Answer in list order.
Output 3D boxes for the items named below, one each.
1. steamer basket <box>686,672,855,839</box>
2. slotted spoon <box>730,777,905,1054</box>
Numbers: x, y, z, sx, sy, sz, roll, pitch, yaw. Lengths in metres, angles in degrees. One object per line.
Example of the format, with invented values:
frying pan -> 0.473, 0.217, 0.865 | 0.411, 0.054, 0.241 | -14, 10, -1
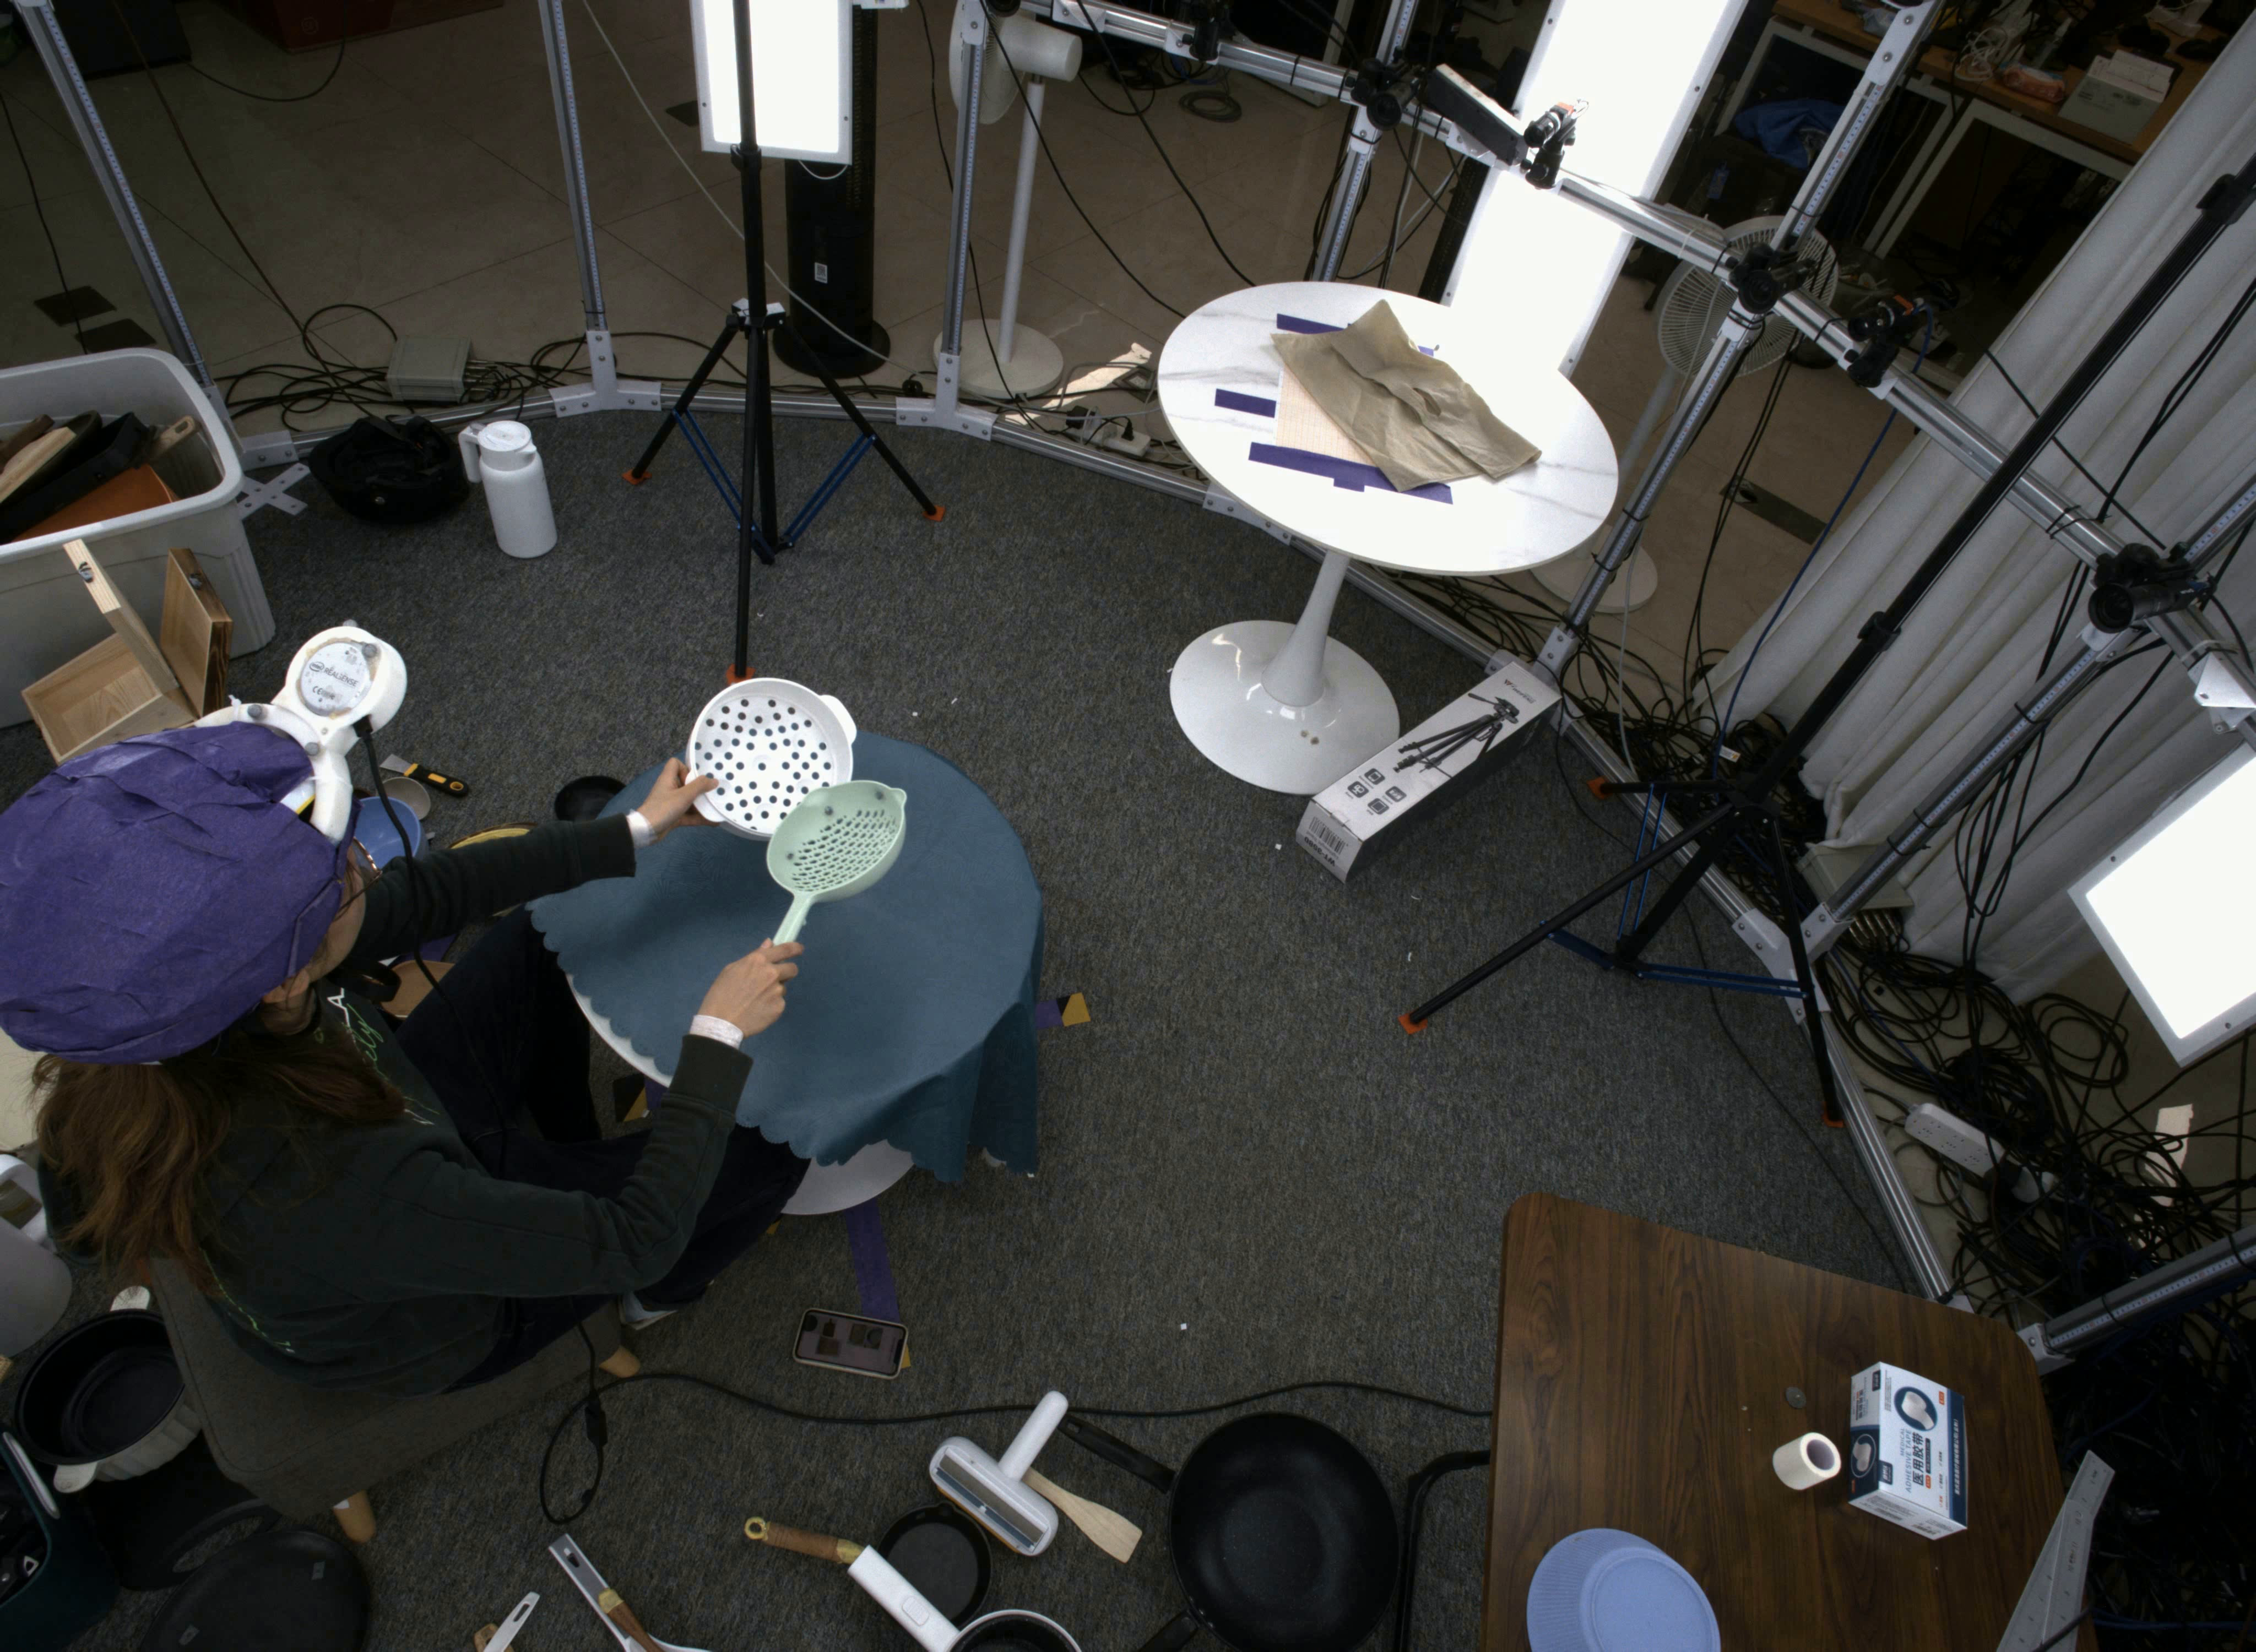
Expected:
steamer basket -> -0.449, -0.086, 1.617 | 0.231, 0.068, 0.205 | -38, 100, -29
slotted spoon -> -0.358, 0.087, 1.430 | 0.164, 0.078, 0.355 | 2, 42, 23
